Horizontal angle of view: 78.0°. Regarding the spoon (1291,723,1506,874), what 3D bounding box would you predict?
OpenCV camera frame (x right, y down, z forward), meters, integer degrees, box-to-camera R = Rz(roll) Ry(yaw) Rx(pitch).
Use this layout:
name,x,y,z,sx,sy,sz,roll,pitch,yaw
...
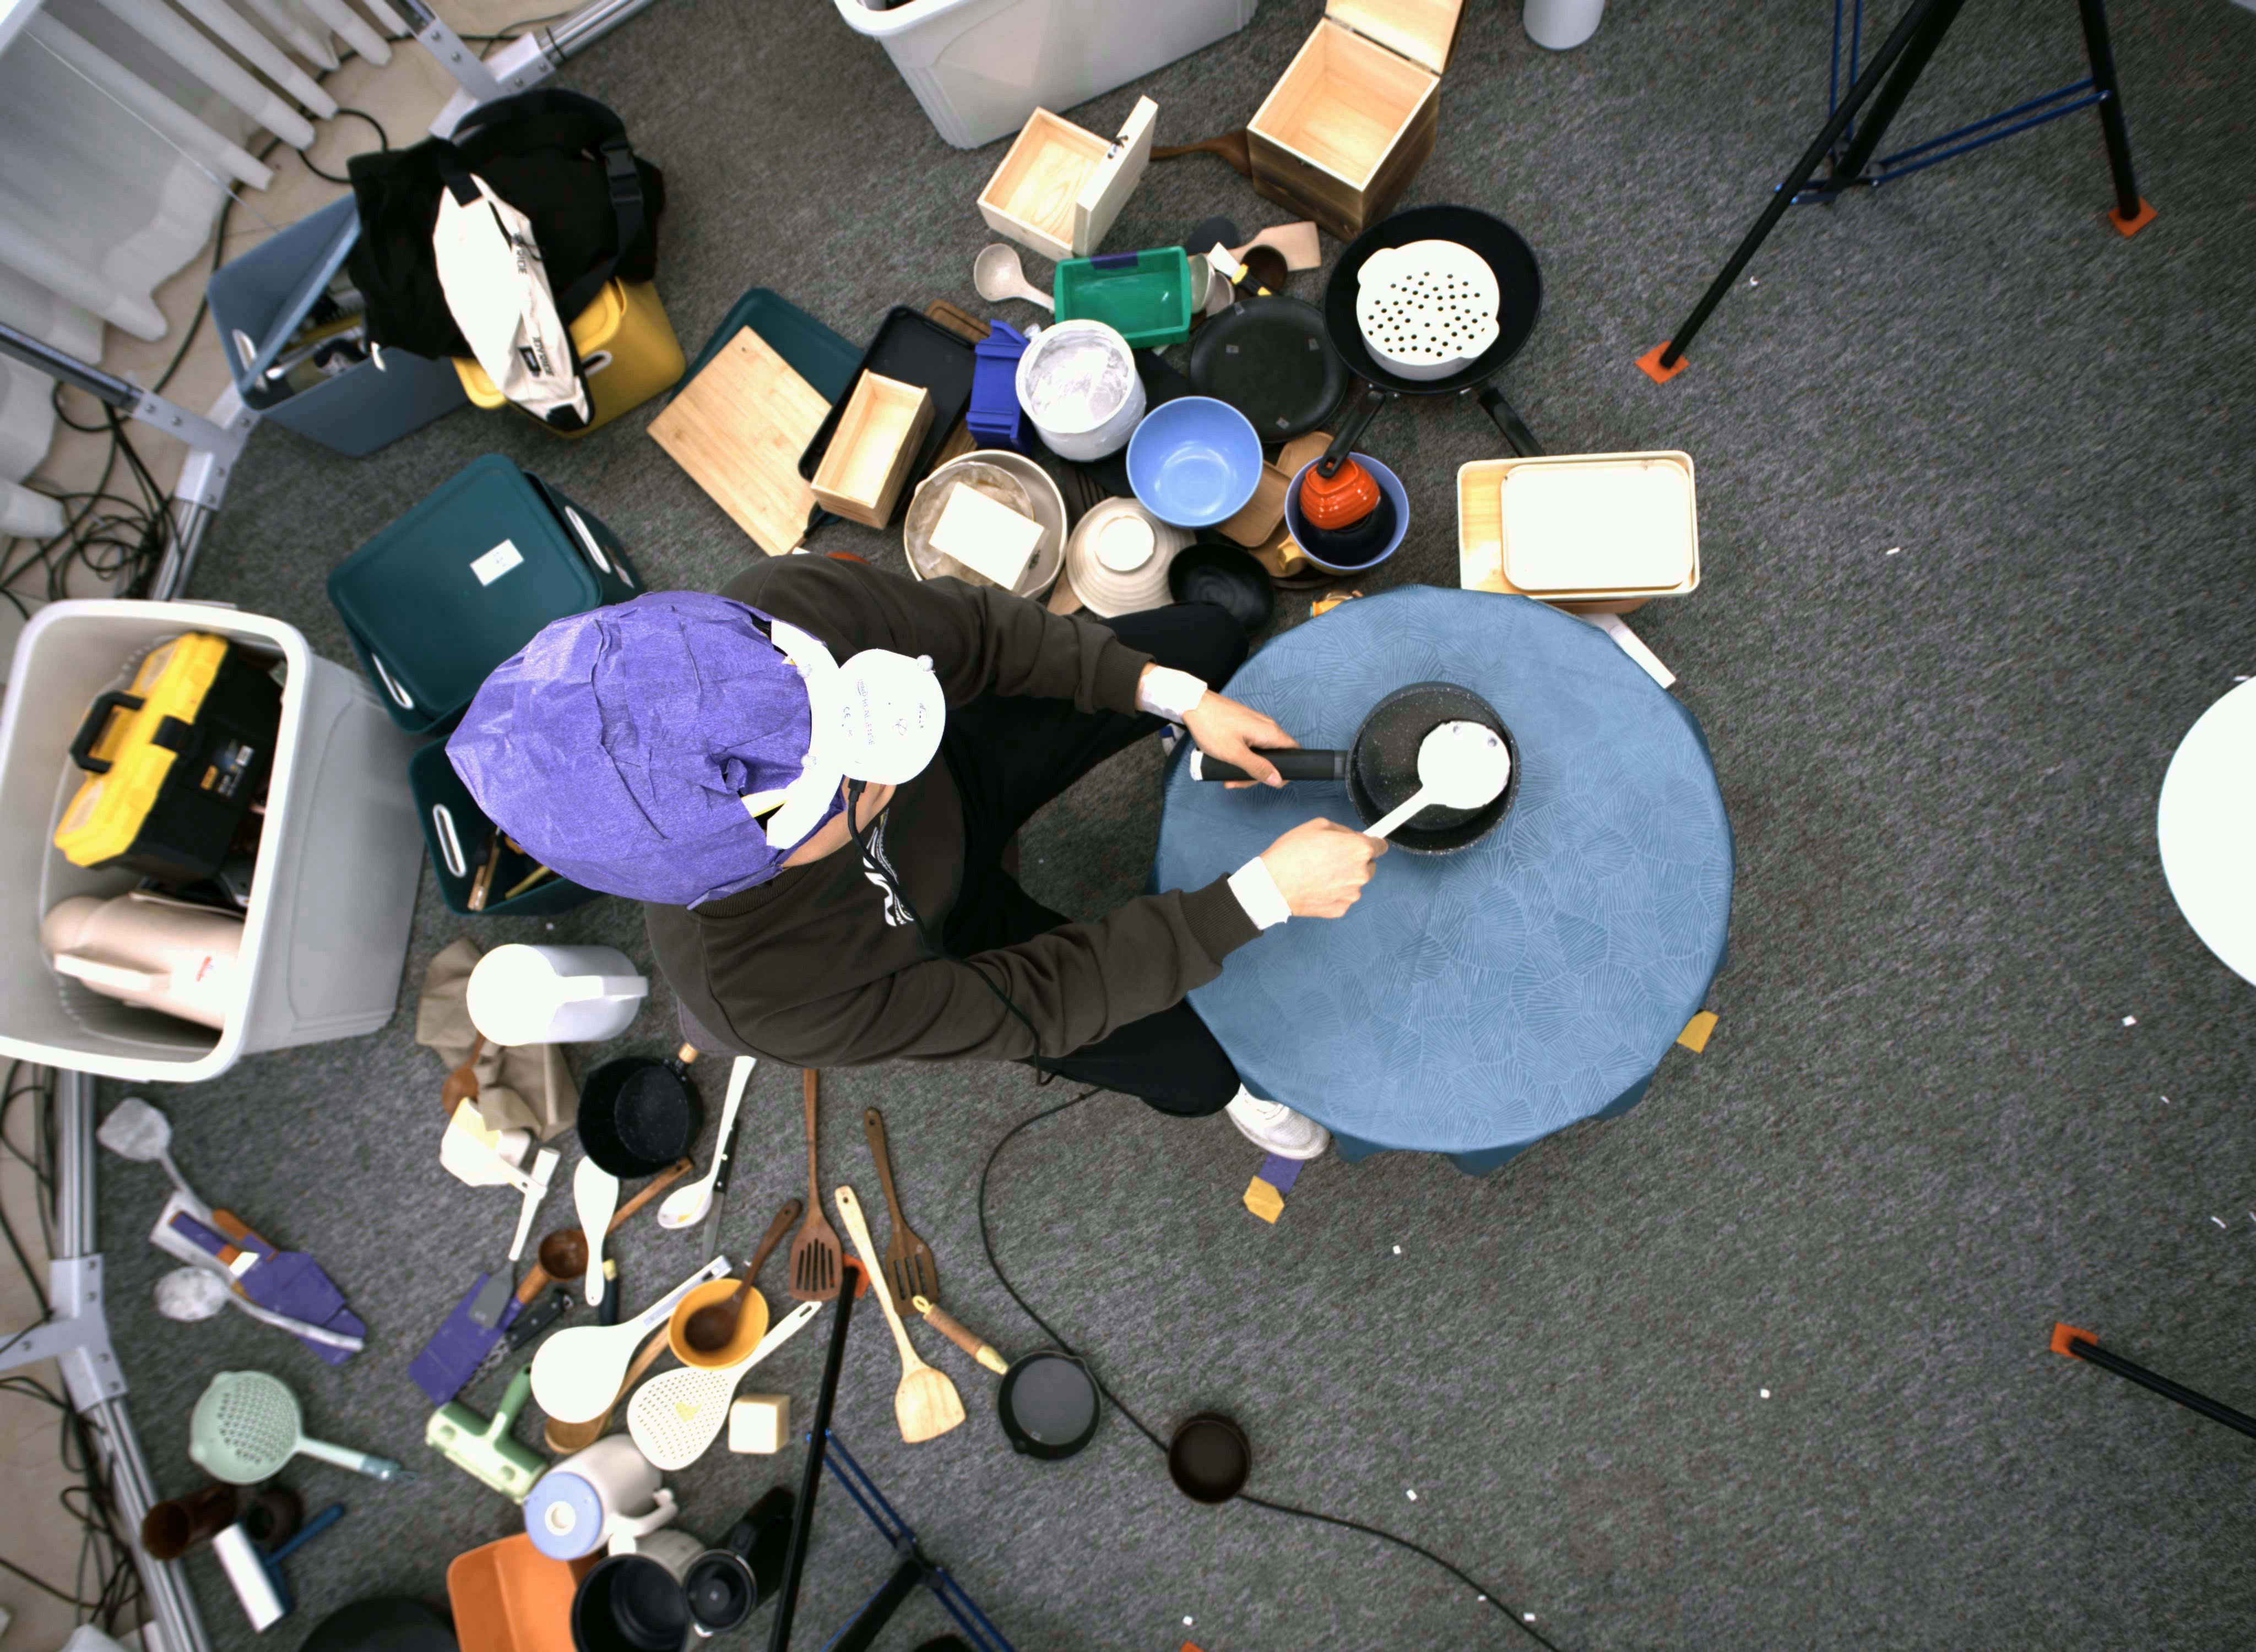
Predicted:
name,x,y,z,sx,sy,sz,roll,pitch,yaw
spoon,0.263,-0.029,1.348,0.273,0.061,0.099,-26,67,-32

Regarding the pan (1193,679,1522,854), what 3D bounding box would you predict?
name,x,y,z,sx,sy,sz,roll,pitch,yaw
pan,0.232,-0.070,1.410,0.330,0.085,0.174,5,107,10
